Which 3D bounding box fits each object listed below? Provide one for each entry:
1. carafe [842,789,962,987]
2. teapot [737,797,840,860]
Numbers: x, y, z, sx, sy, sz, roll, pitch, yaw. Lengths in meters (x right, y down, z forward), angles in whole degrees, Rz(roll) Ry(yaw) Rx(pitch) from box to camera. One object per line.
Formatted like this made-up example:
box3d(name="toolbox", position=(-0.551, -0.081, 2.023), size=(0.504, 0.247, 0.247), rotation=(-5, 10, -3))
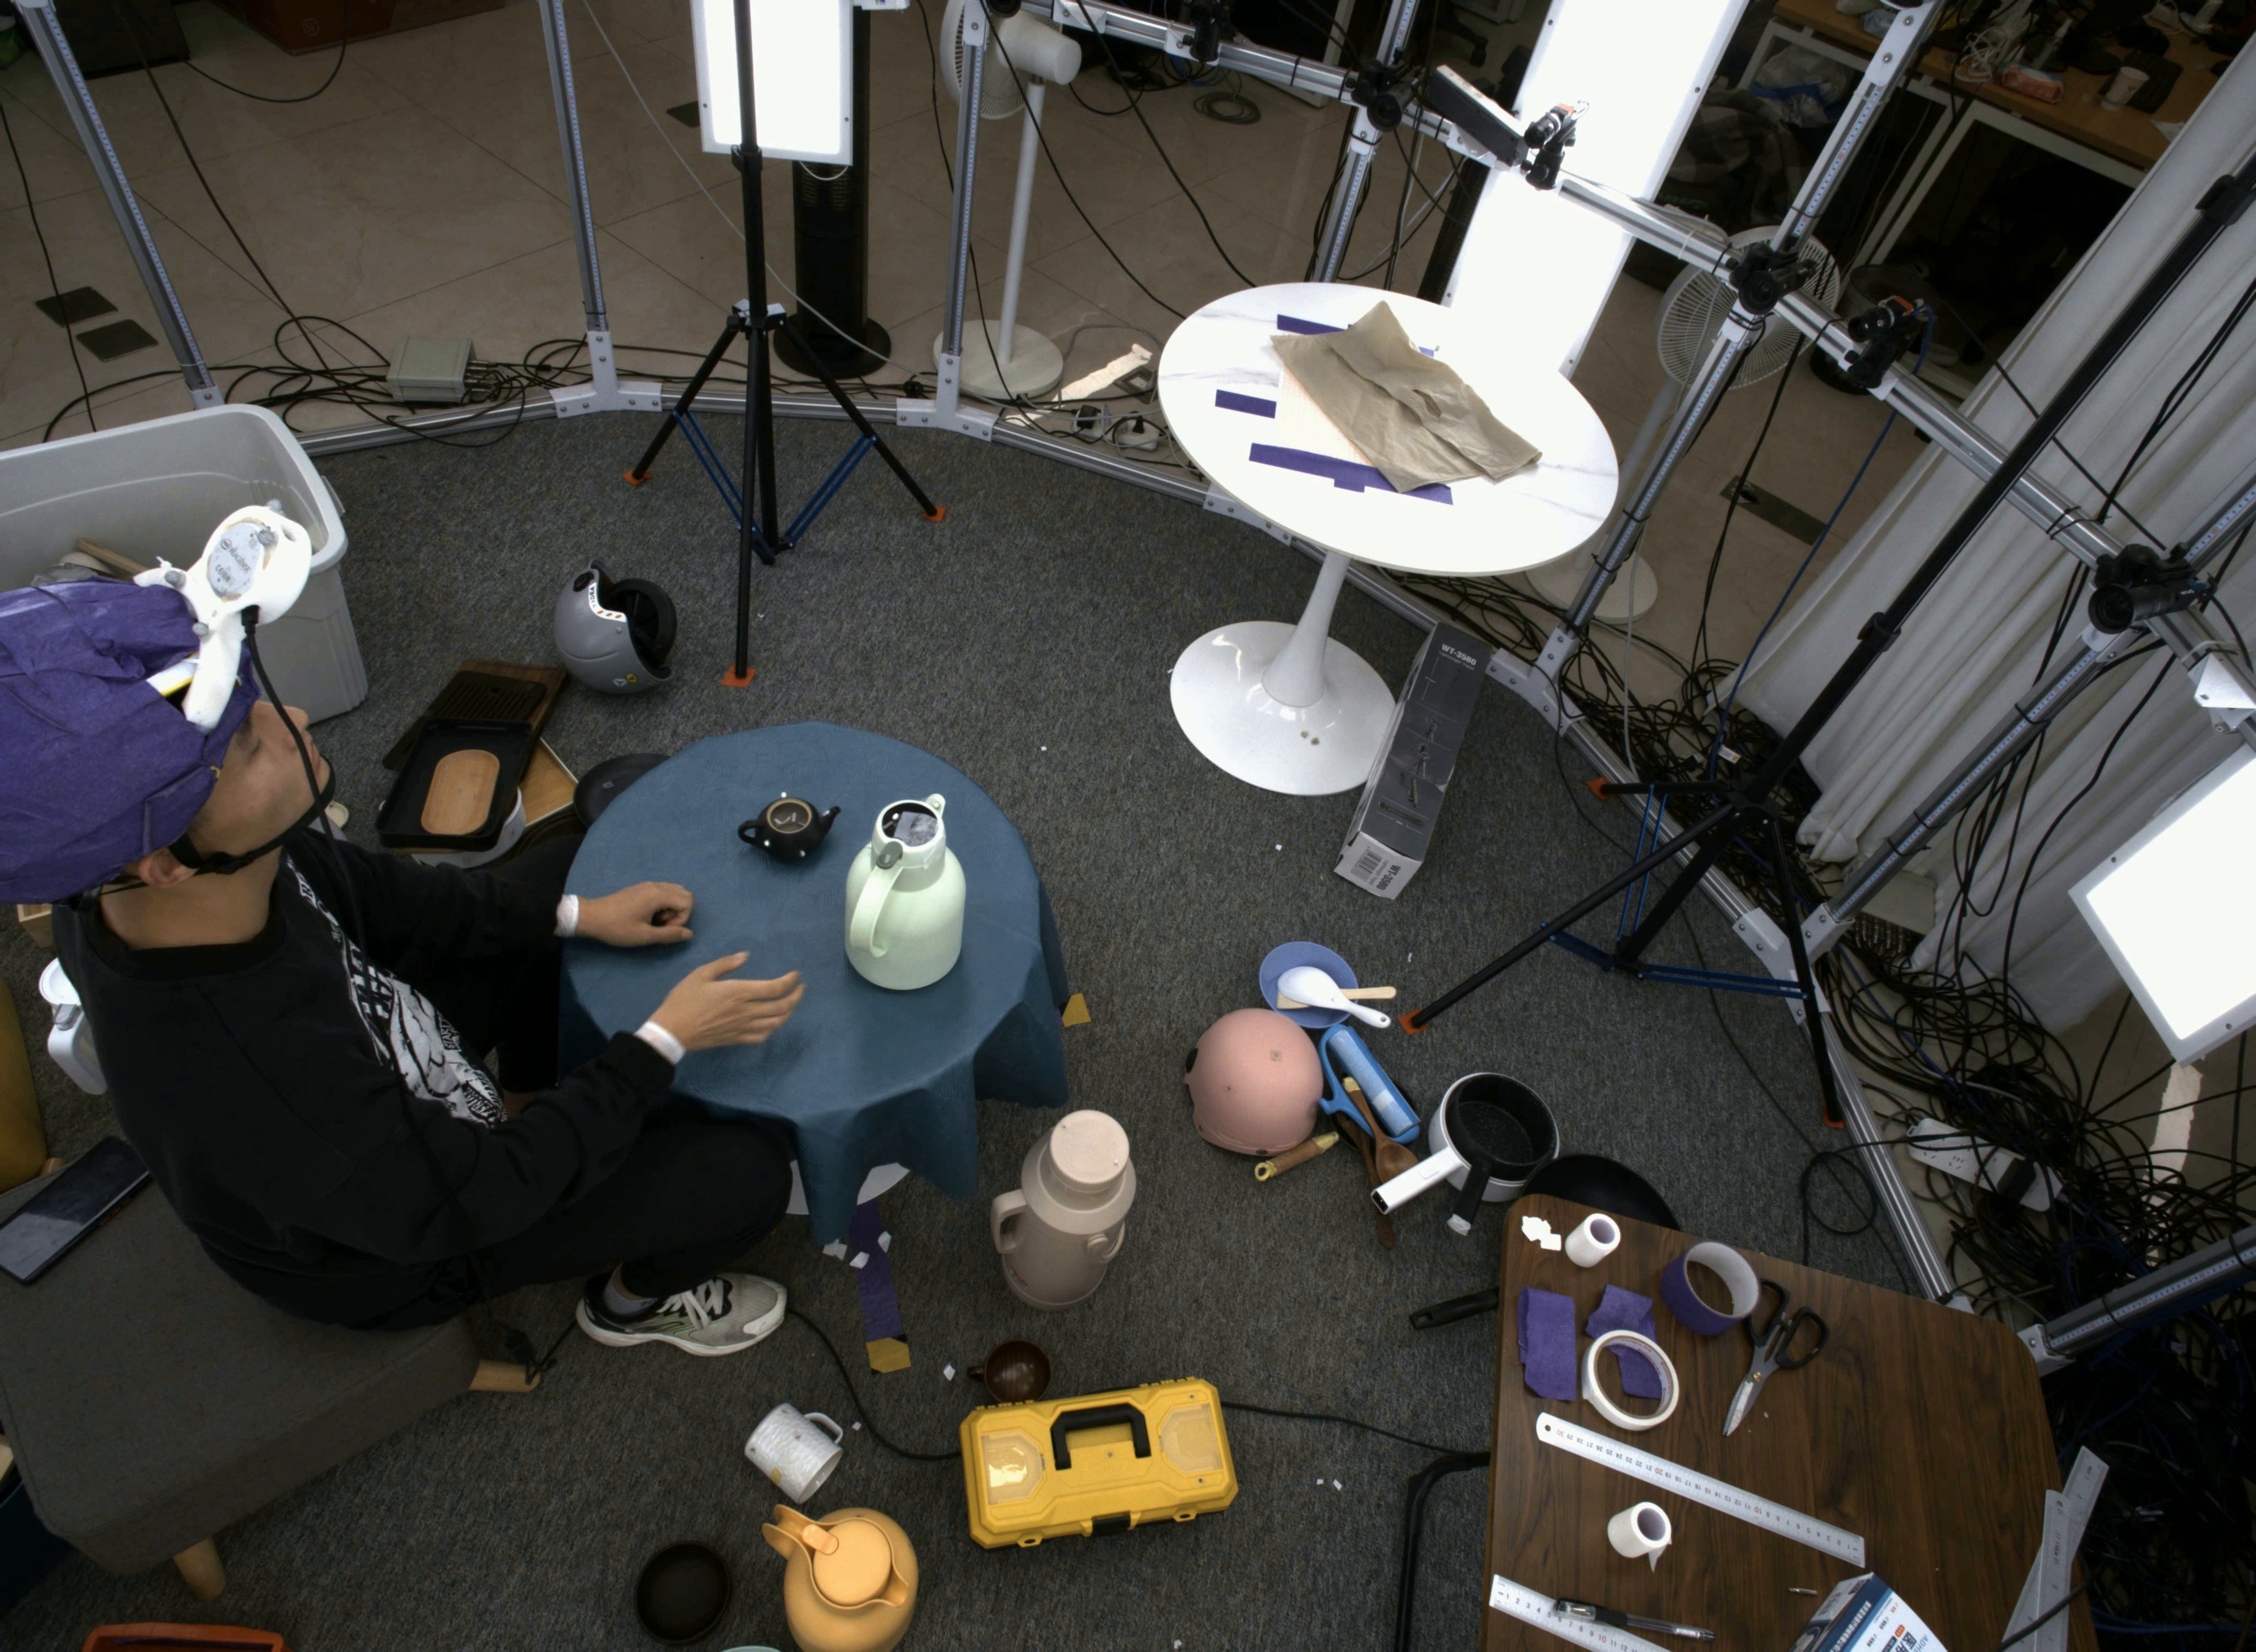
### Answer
box3d(name="carafe", position=(-0.273, 0.080, 1.539), size=(0.142, 0.261, 0.185), rotation=(24, 55, 4))
box3d(name="teapot", position=(-0.440, 0.001, 1.682), size=(0.134, 0.054, 0.088), rotation=(-10, 55, -21))
